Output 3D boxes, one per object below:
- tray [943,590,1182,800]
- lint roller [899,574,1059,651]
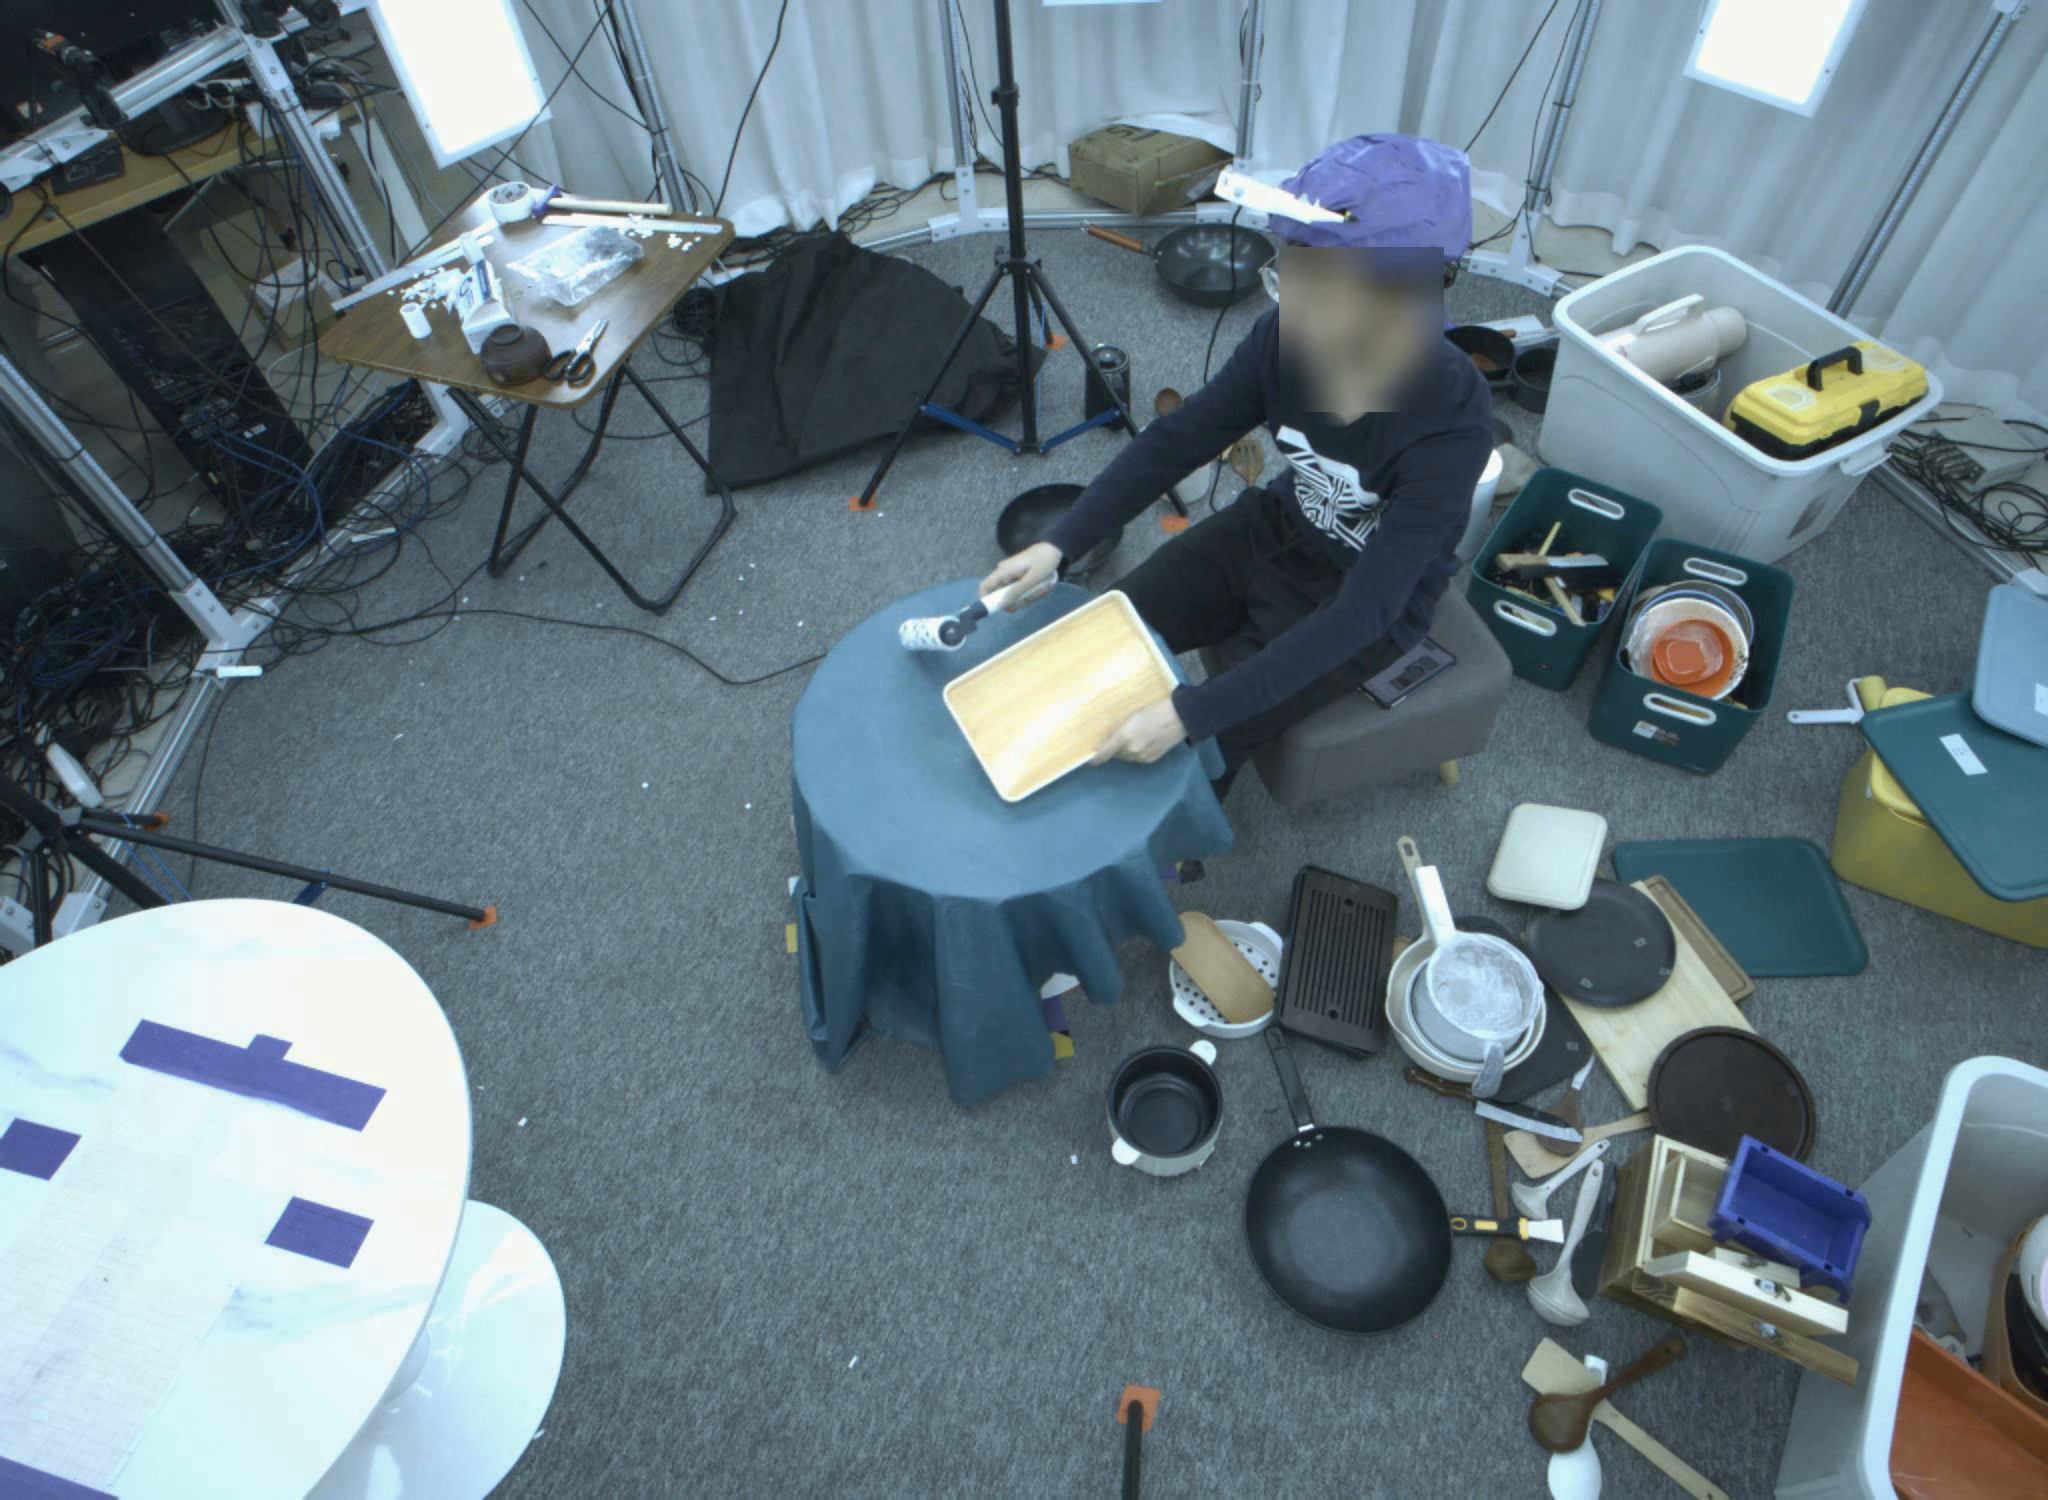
[{"bbox_3d":[0.055,-0.079,1.743,0.301,0.027,0.191,-30,87,-9],"label":"tray"},{"bbox_3d":[-0.057,-0.219,1.863,0.249,0.051,0.173,-29,18,-22],"label":"lint roller"}]
